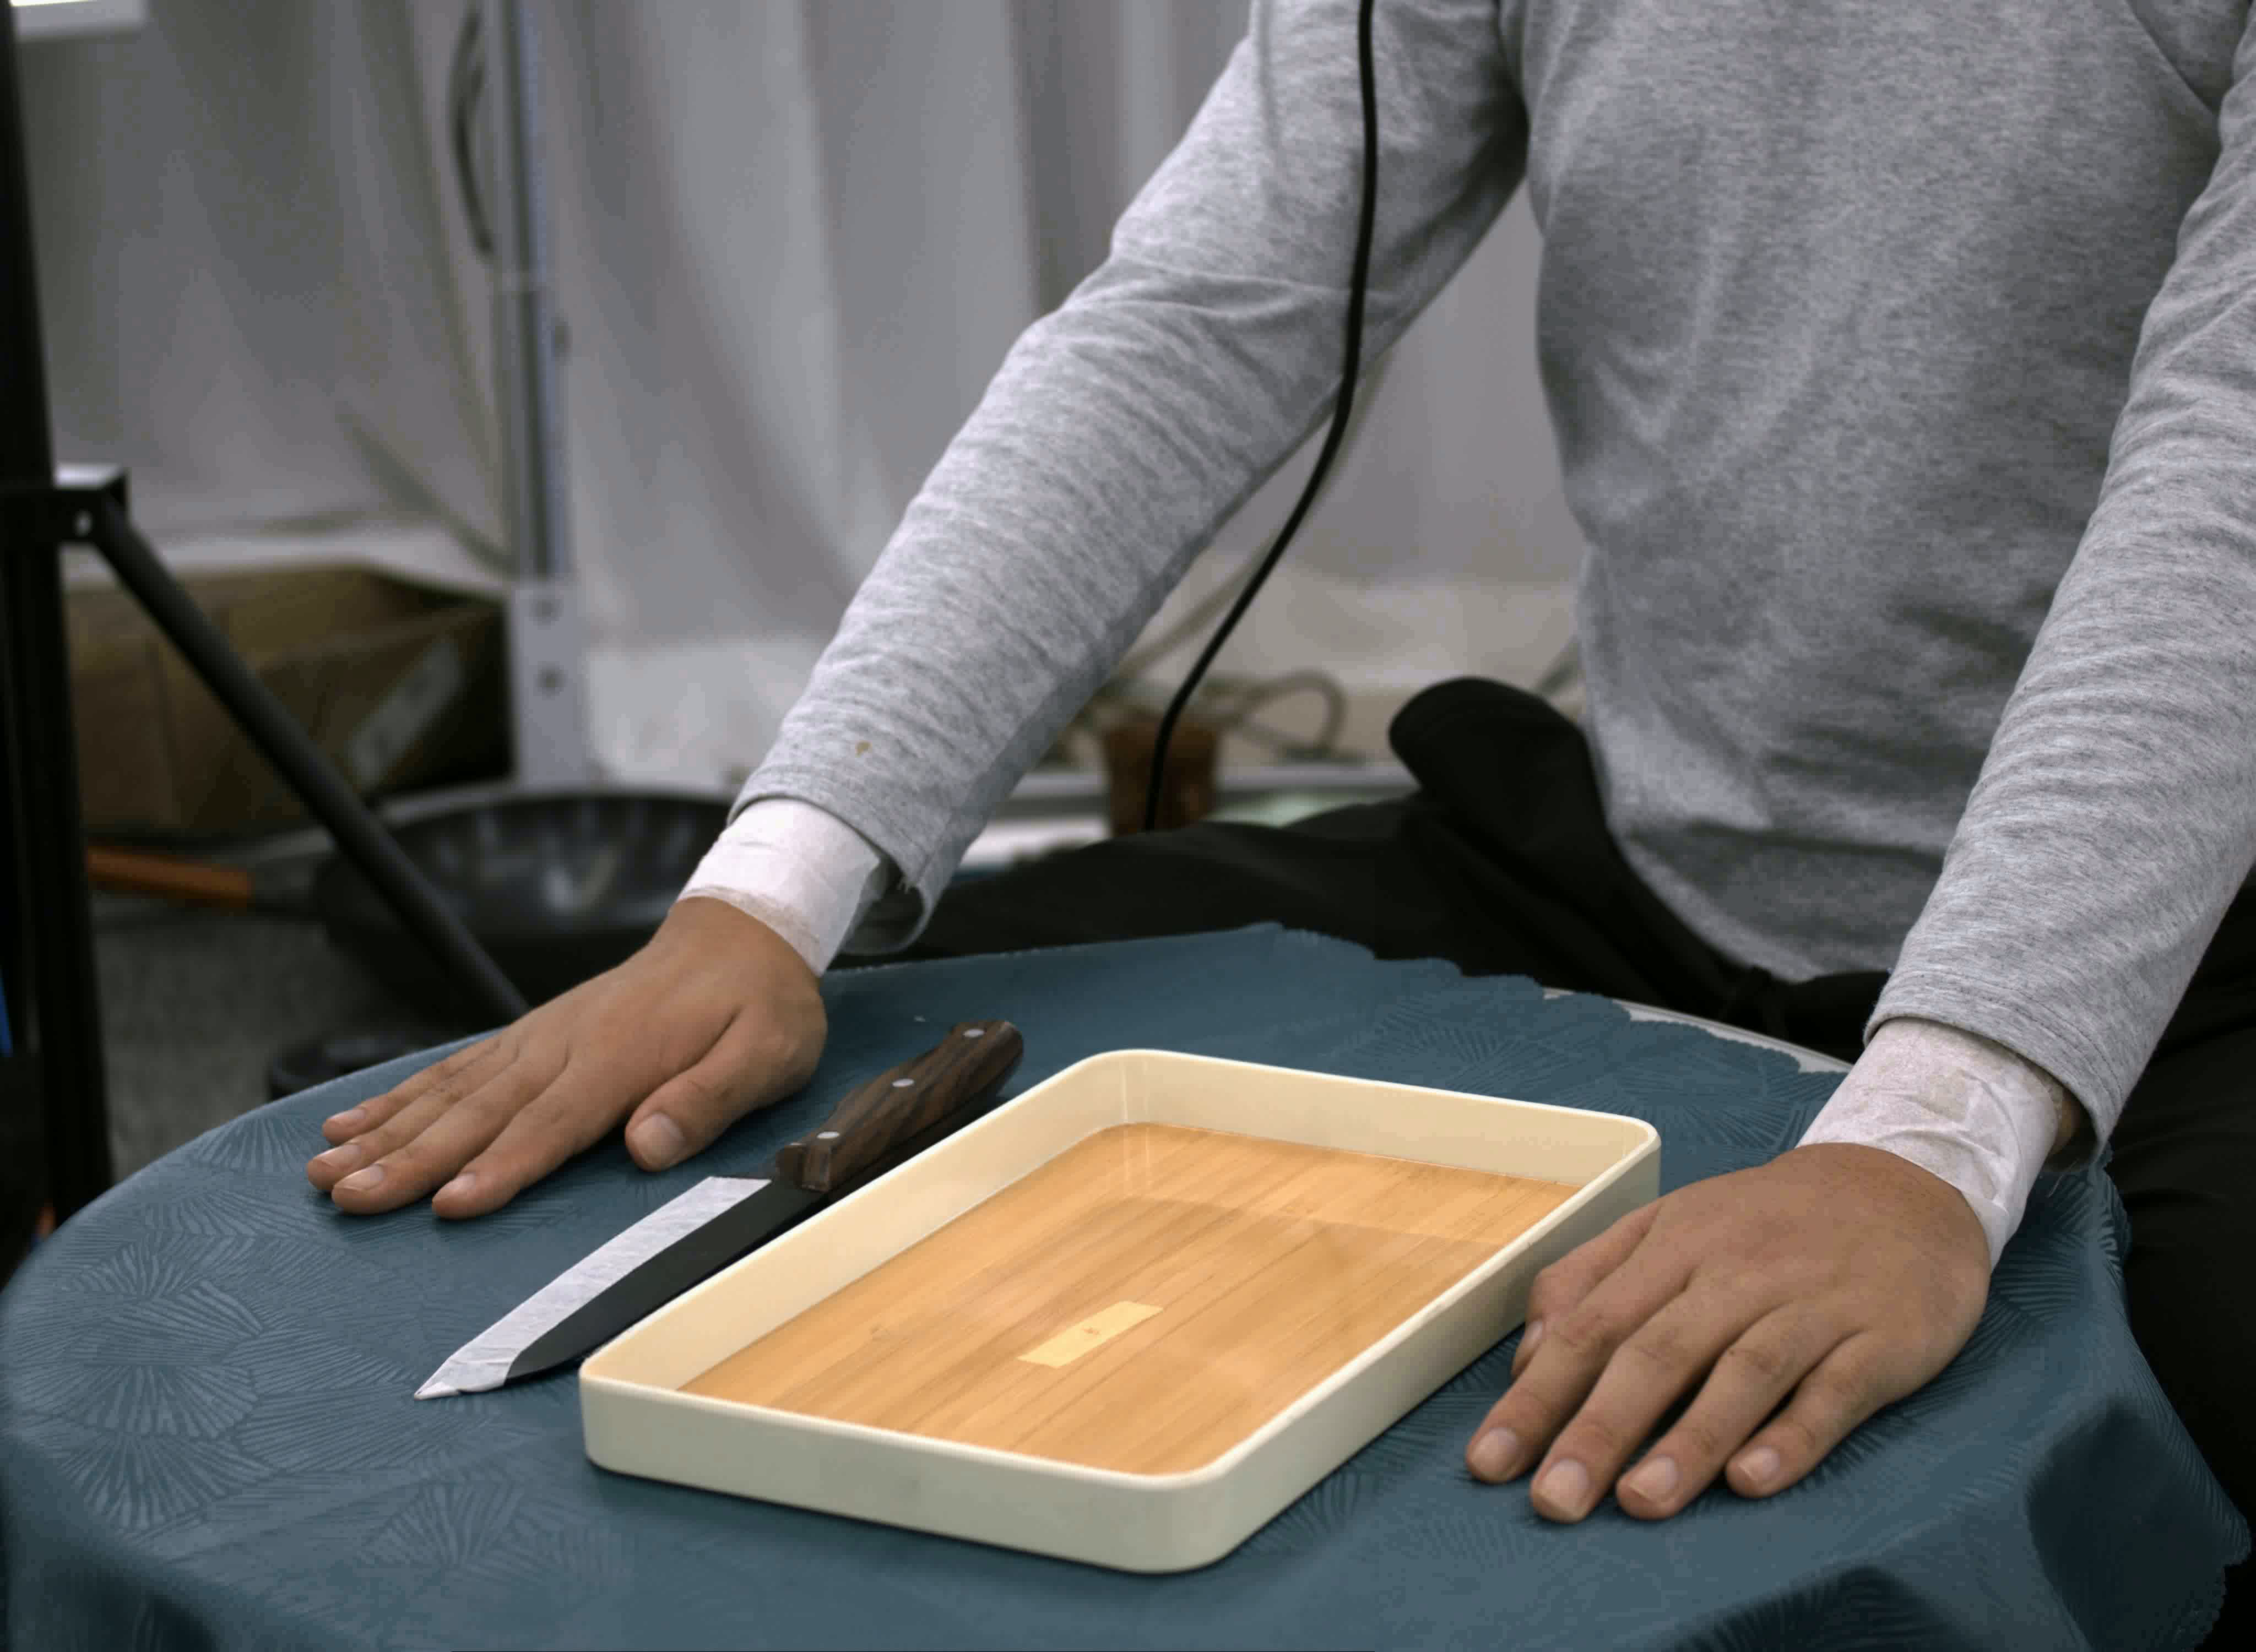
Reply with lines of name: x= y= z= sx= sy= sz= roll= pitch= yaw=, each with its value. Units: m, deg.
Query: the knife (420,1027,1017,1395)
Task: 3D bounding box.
knife: x=-0.113 y=0.112 z=1.541 sx=0.051 sy=0.020 sz=0.284 roll=2 pitch=18 yaw=32

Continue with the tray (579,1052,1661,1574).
tray: x=0.006 y=0.126 z=1.449 sx=0.195 sy=0.027 sz=0.295 roll=7 pitch=18 yaw=29
